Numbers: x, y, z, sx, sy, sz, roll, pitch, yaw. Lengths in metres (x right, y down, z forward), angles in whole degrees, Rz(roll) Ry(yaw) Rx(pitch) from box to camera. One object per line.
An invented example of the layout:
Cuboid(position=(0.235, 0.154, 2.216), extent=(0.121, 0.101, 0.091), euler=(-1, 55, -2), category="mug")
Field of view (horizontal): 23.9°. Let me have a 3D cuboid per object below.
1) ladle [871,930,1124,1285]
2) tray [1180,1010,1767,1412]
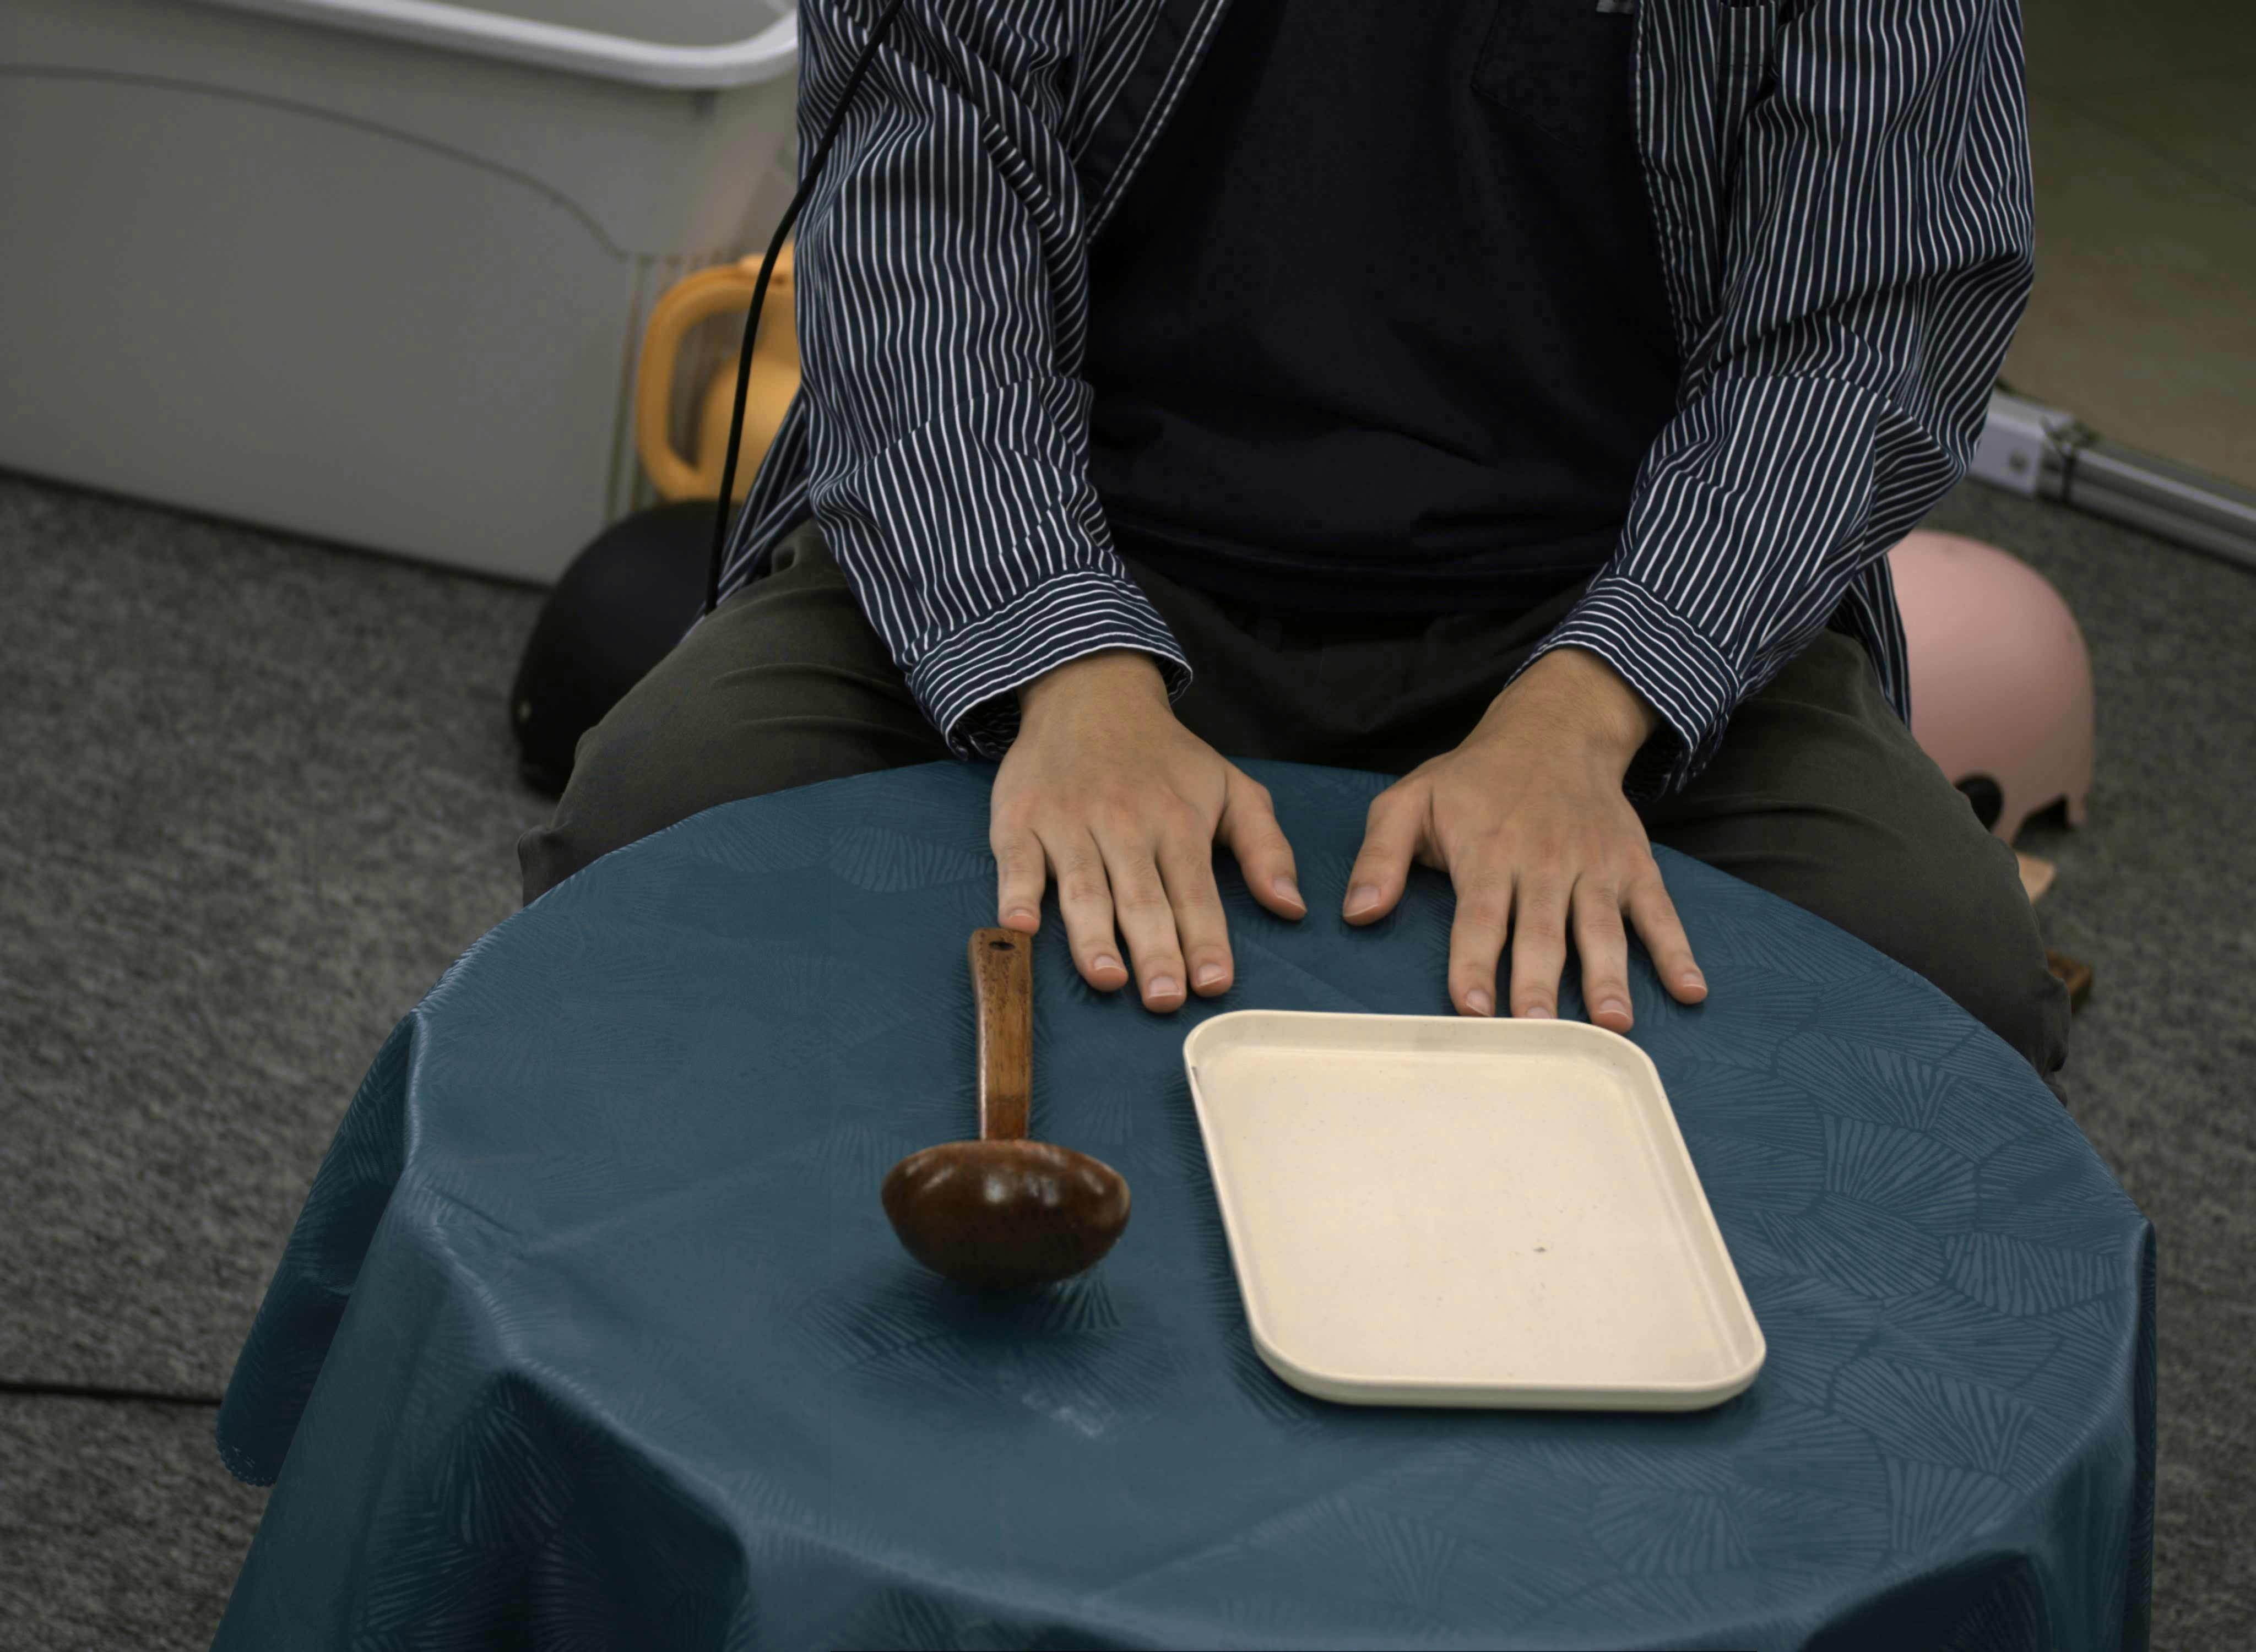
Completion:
Cuboid(position=(-0.040, 0.075, 1.802), extent=(0.081, 0.076, 0.275), euler=(9, 26, -3), category="ladle")
Cuboid(position=(0.112, 0.129, 1.793), extent=(0.170, 0.017, 0.241), euler=(3, 27, -8), category="tray")
